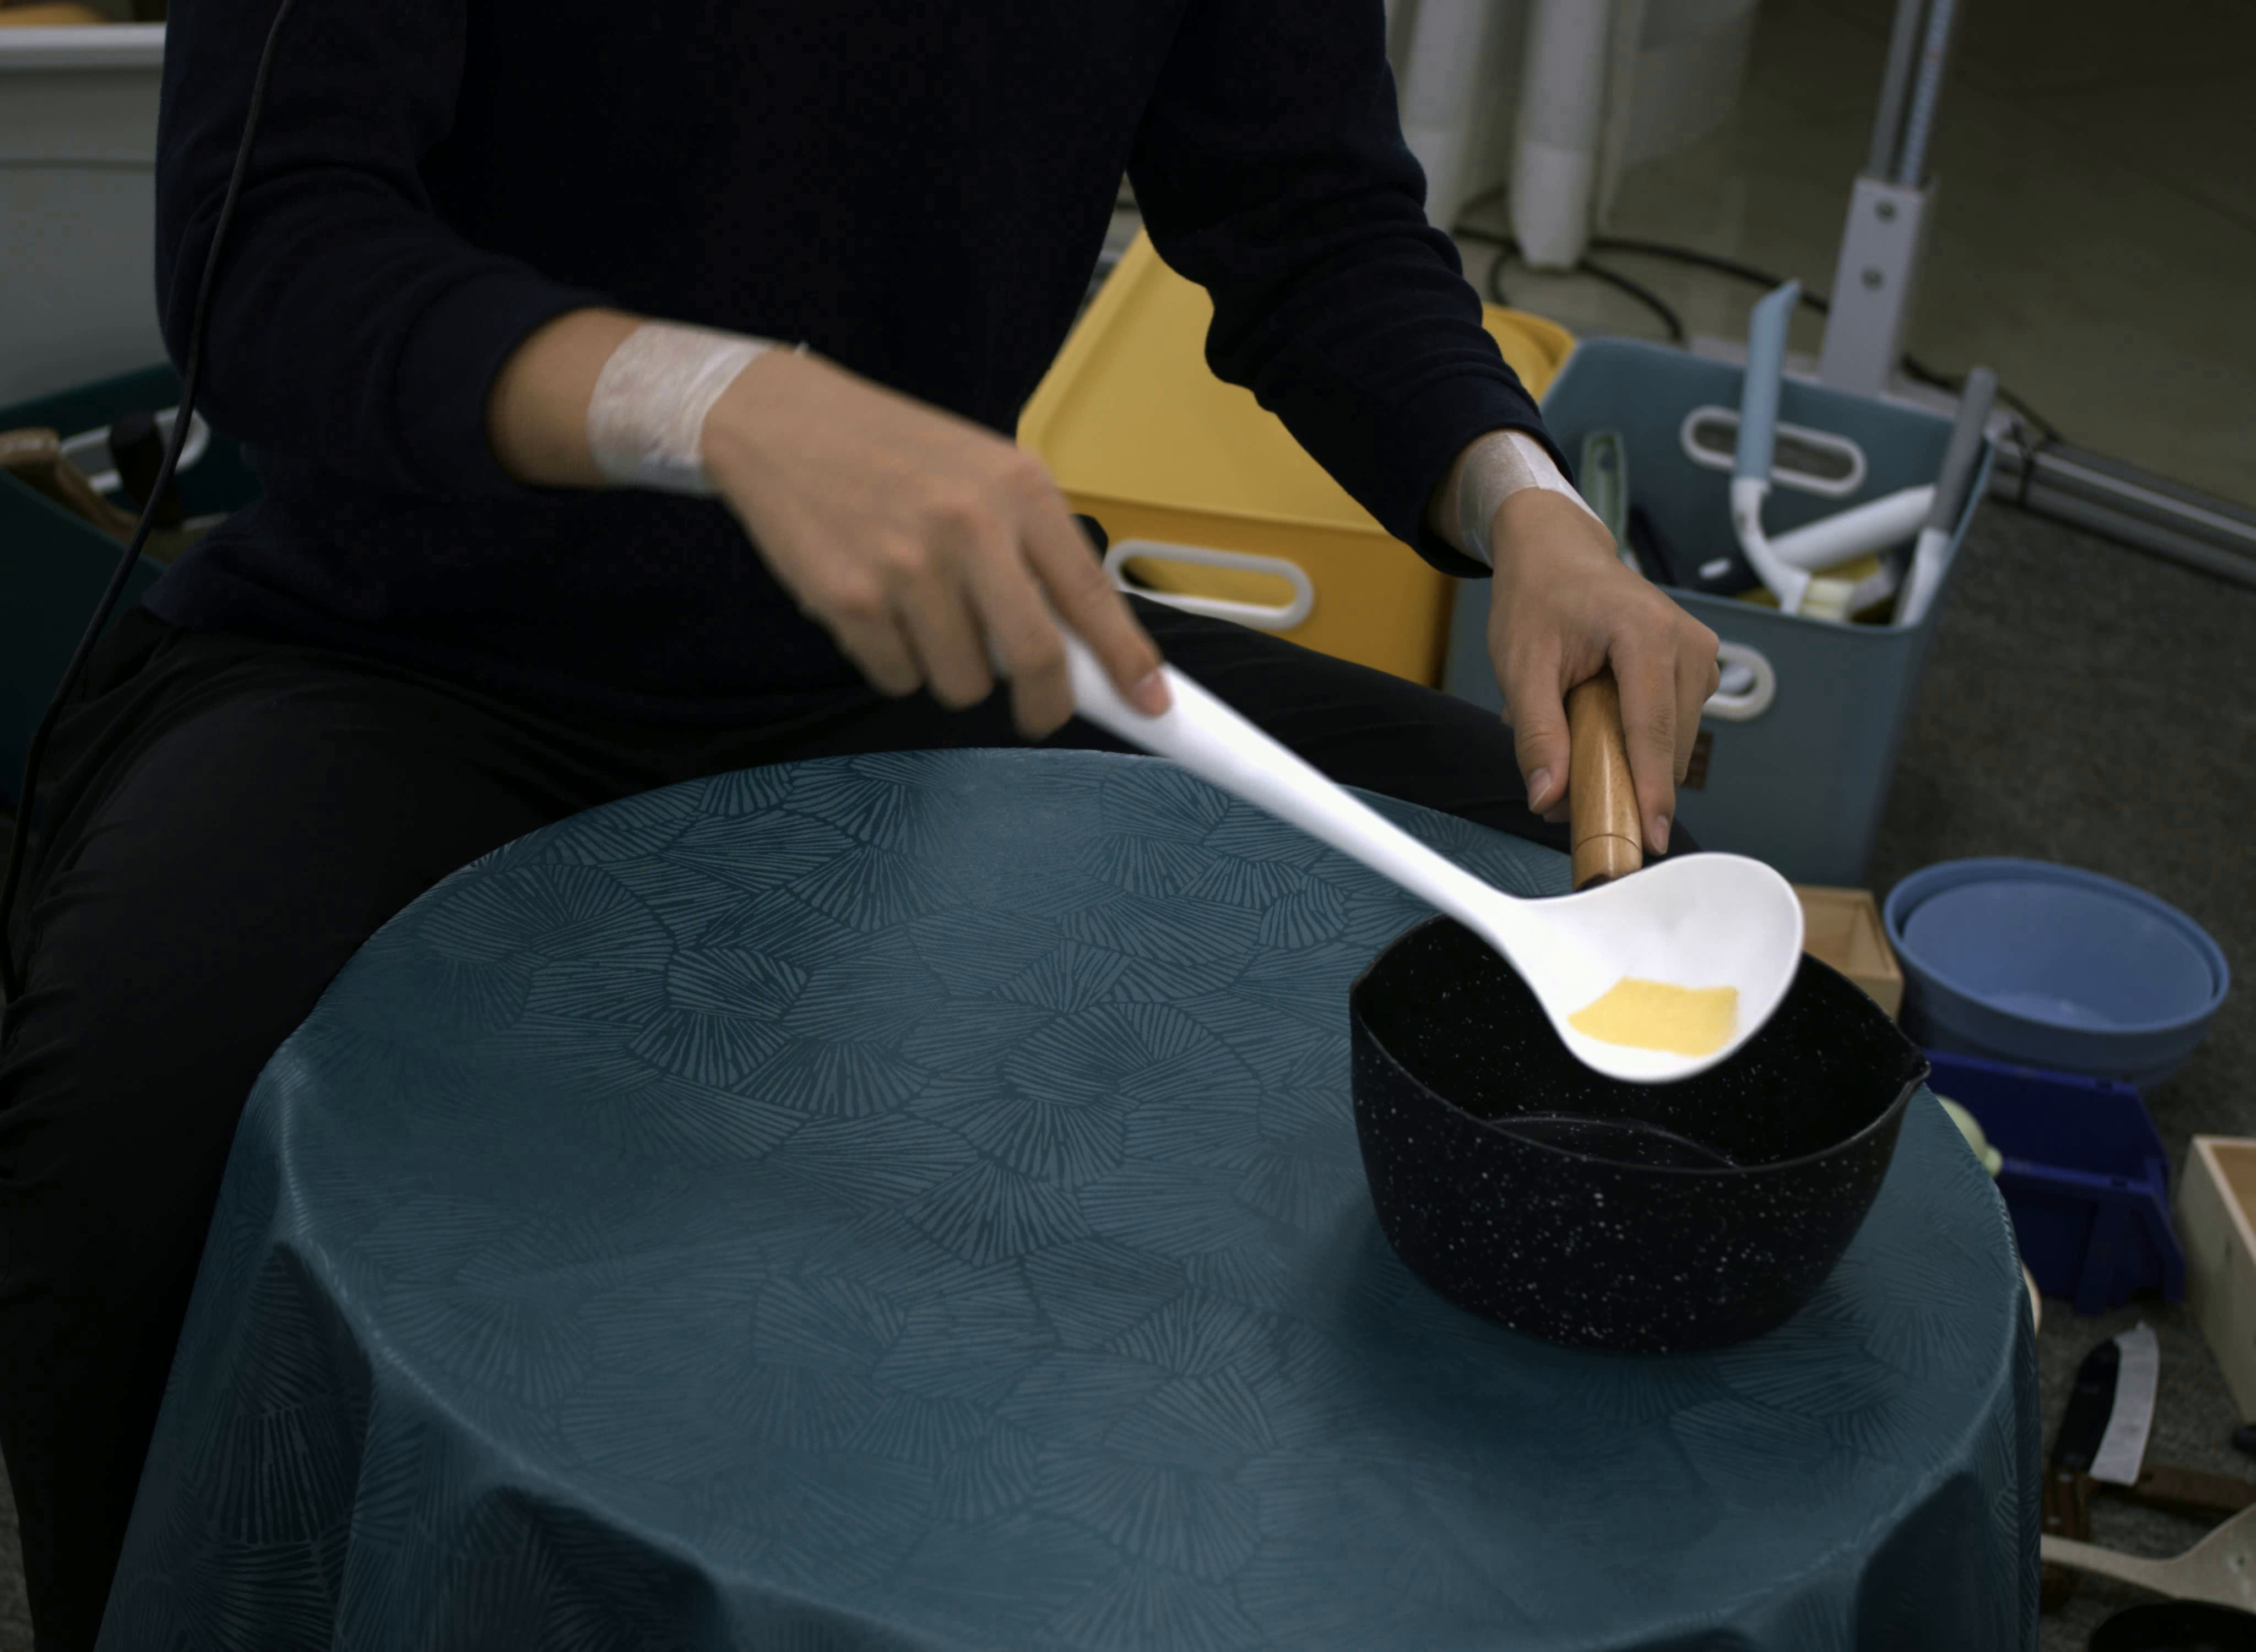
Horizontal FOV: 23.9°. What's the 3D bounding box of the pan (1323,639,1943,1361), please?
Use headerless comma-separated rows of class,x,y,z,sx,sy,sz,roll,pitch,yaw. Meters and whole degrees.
pan,0.165,0.056,1.853,0.207,0.108,0.345,4,28,-2

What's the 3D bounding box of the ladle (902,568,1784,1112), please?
ladle,0.063,-0.004,1.661,0.293,0.070,0.090,30,70,5
